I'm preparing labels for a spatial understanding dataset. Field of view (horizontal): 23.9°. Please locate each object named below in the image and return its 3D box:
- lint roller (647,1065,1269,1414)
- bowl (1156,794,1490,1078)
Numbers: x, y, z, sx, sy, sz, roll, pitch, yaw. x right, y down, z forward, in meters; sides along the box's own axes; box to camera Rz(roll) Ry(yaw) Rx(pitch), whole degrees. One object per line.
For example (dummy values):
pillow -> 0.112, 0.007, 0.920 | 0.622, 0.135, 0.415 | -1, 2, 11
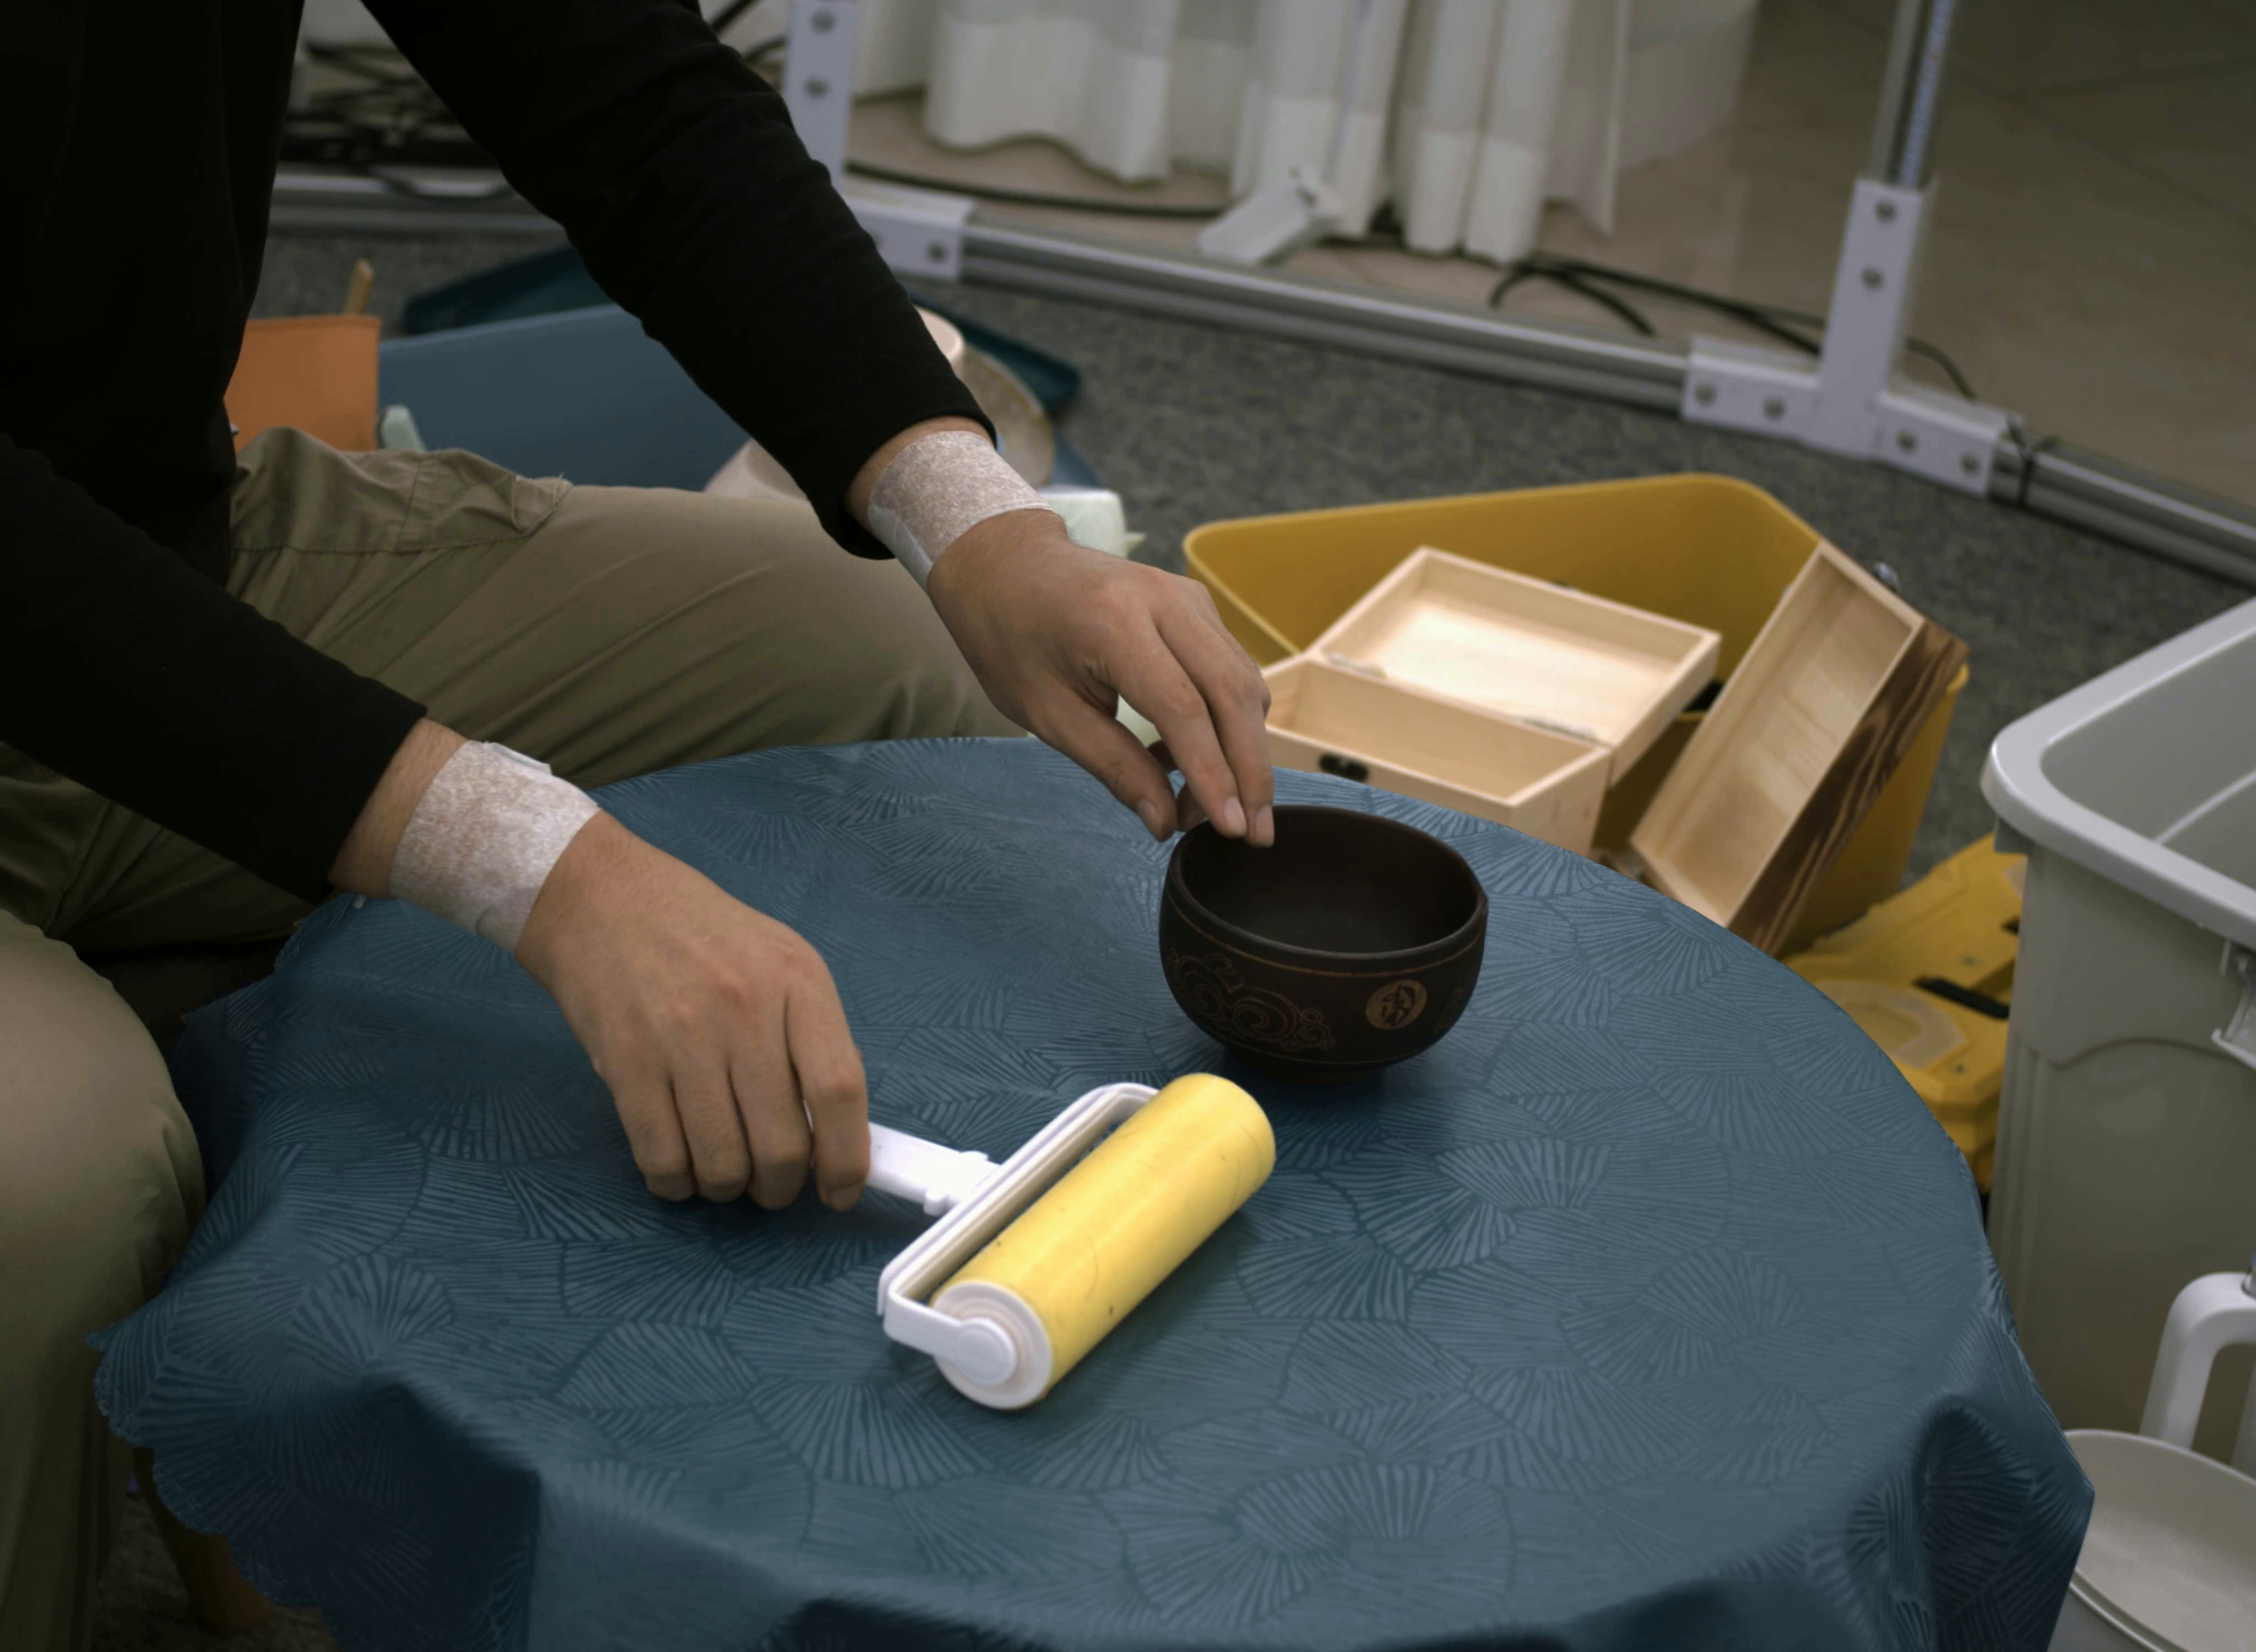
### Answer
lint roller -> -0.071, 0.108, 1.750 | 0.192, 0.051, 0.174 | 25, 31, 16
bowl -> 0.066, 0.046, 1.887 | 0.117, 0.069, 0.119 | 6, 27, -4
